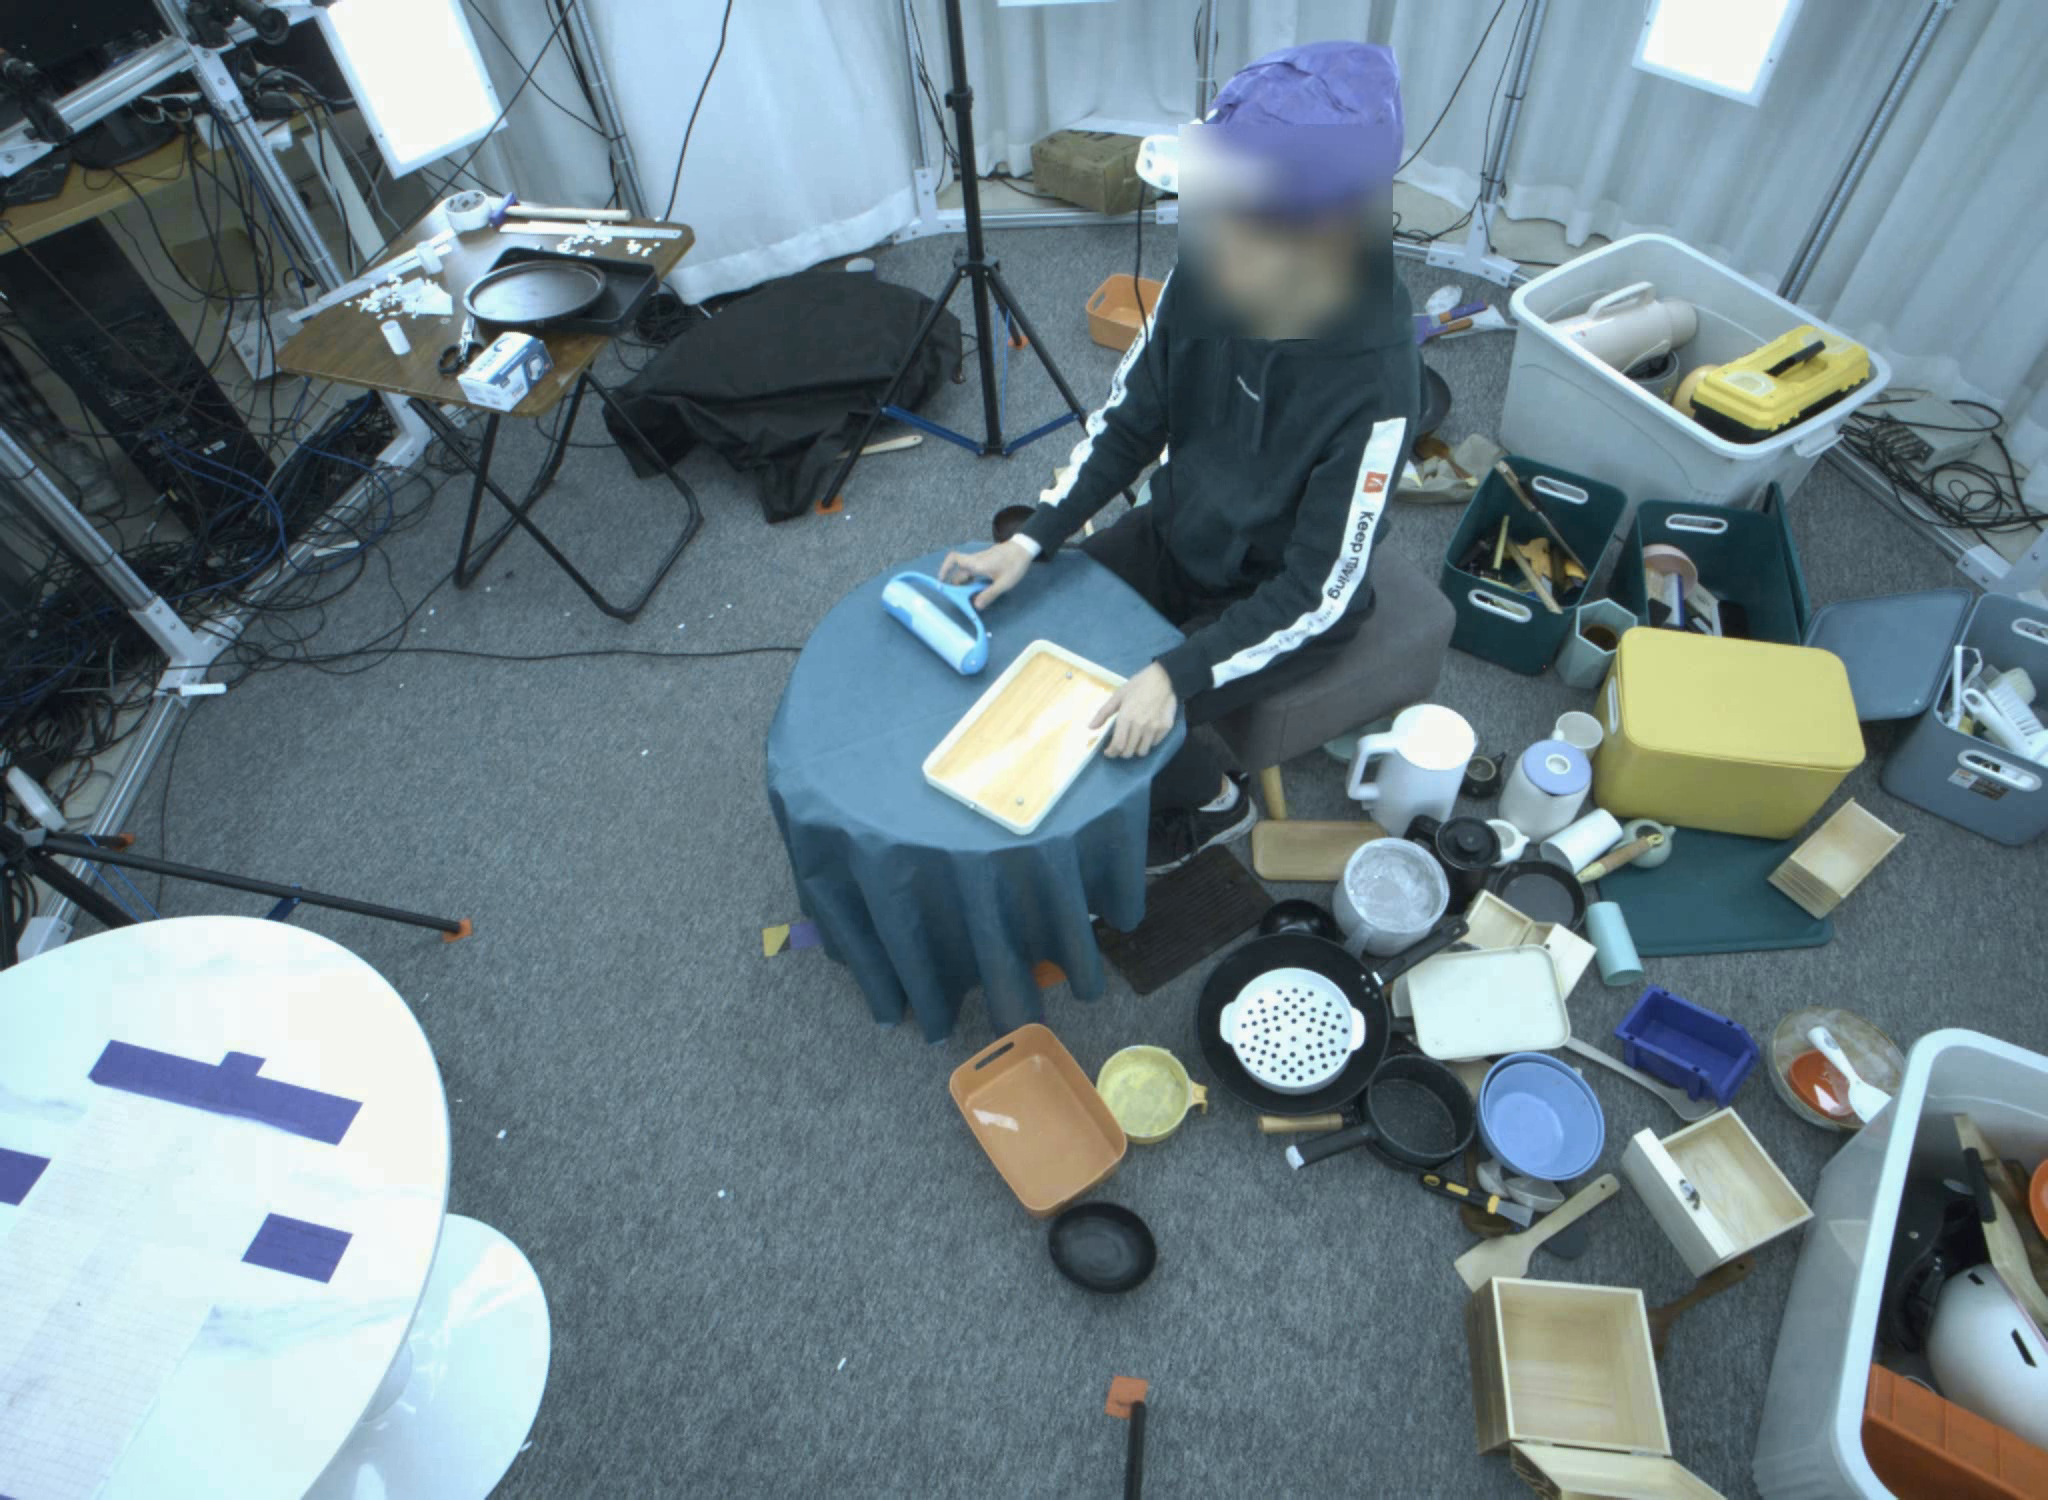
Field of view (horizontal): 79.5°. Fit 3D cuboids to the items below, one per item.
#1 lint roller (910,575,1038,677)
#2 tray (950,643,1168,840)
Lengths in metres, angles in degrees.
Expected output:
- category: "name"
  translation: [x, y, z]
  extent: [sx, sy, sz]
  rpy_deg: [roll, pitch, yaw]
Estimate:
- category: "lint roller"
  translation: [-0.054, -0.222, 1.908]
  extent: [0.181, 0.069, 0.224]
  rpy_deg: [-40, 60, -21]
- category: "tray"
  translation: [0.053, -0.018, 1.778]
  extent: [0.188, 0.028, 0.302]
  rpy_deg: [31, 61, 21]
